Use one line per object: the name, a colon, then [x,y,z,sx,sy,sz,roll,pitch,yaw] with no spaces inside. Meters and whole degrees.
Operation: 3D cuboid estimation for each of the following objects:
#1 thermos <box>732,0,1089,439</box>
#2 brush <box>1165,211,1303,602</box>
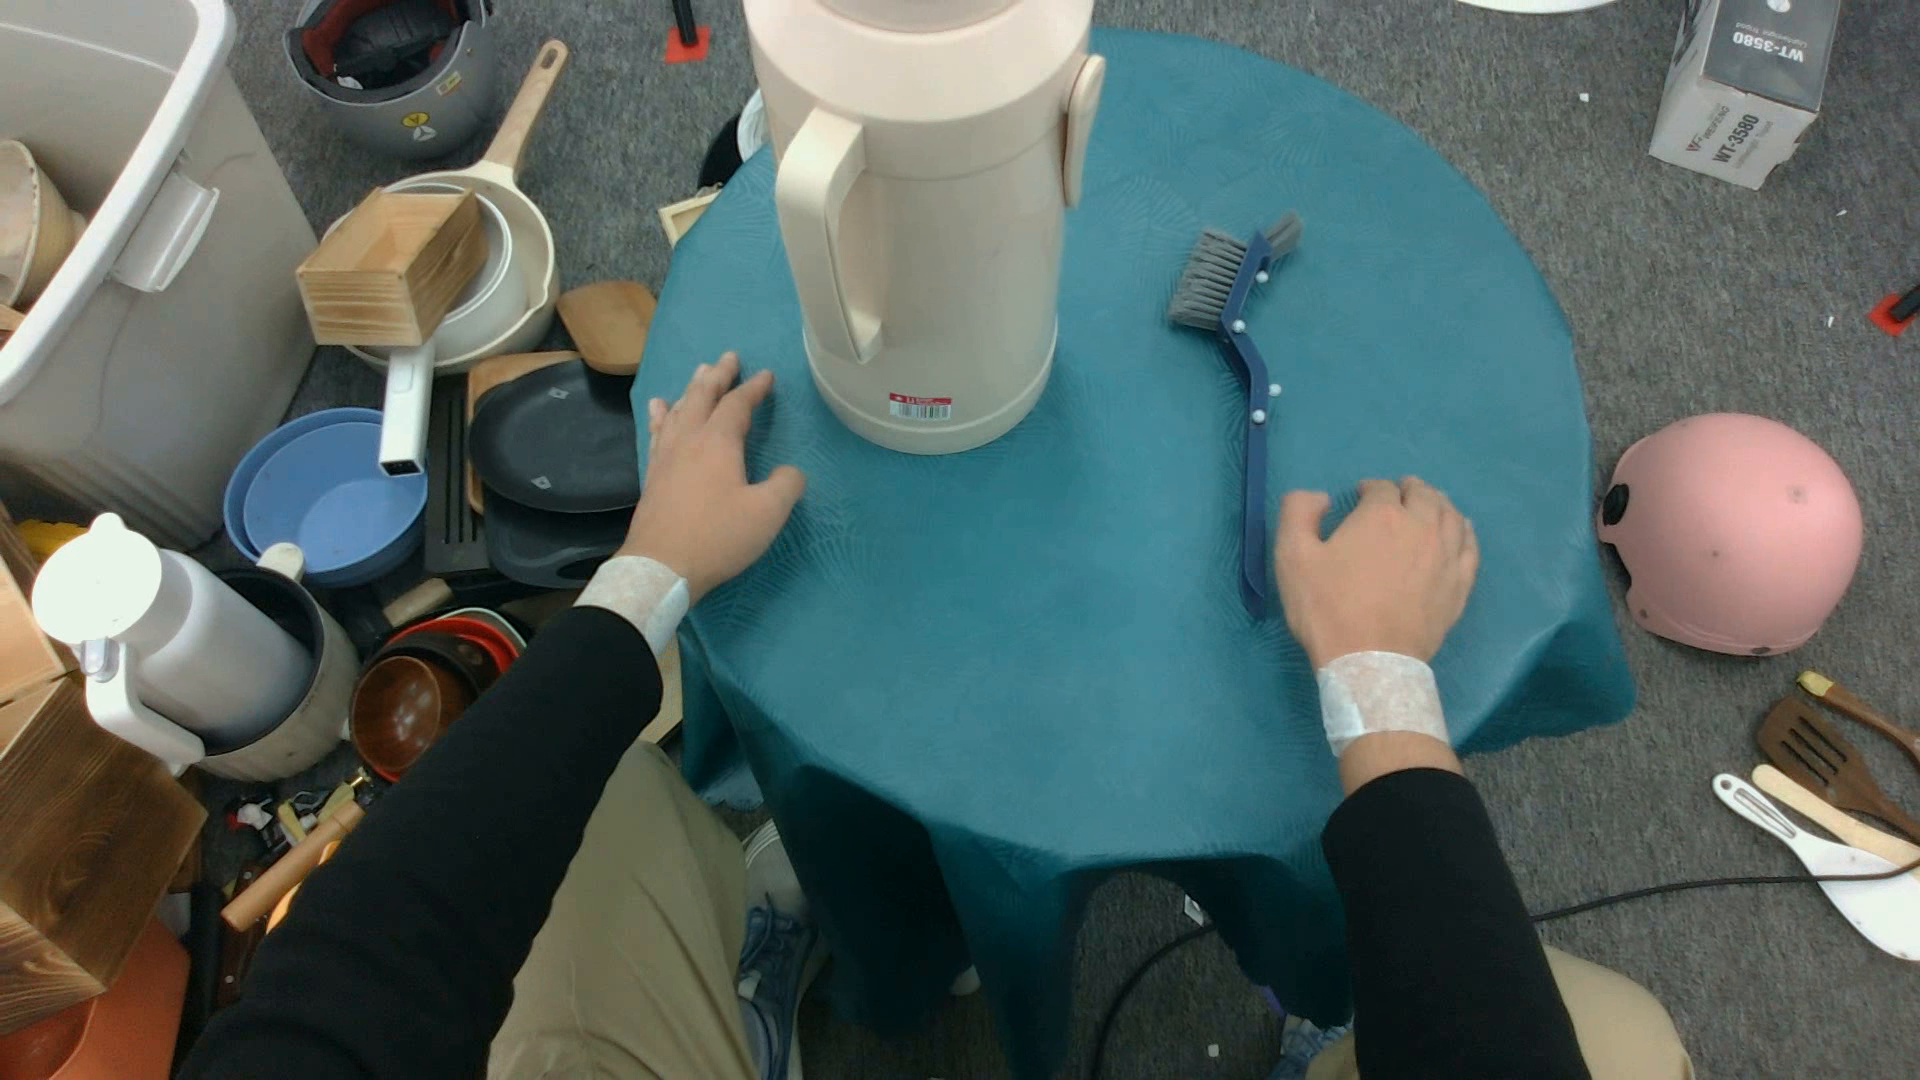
thermos: [-0.034,-0.202,0.698,0.175,0.404,0.208,24,67,8]
brush: [0.182,-0.092,0.850,0.096,0.033,0.274,-2,63,-1]
